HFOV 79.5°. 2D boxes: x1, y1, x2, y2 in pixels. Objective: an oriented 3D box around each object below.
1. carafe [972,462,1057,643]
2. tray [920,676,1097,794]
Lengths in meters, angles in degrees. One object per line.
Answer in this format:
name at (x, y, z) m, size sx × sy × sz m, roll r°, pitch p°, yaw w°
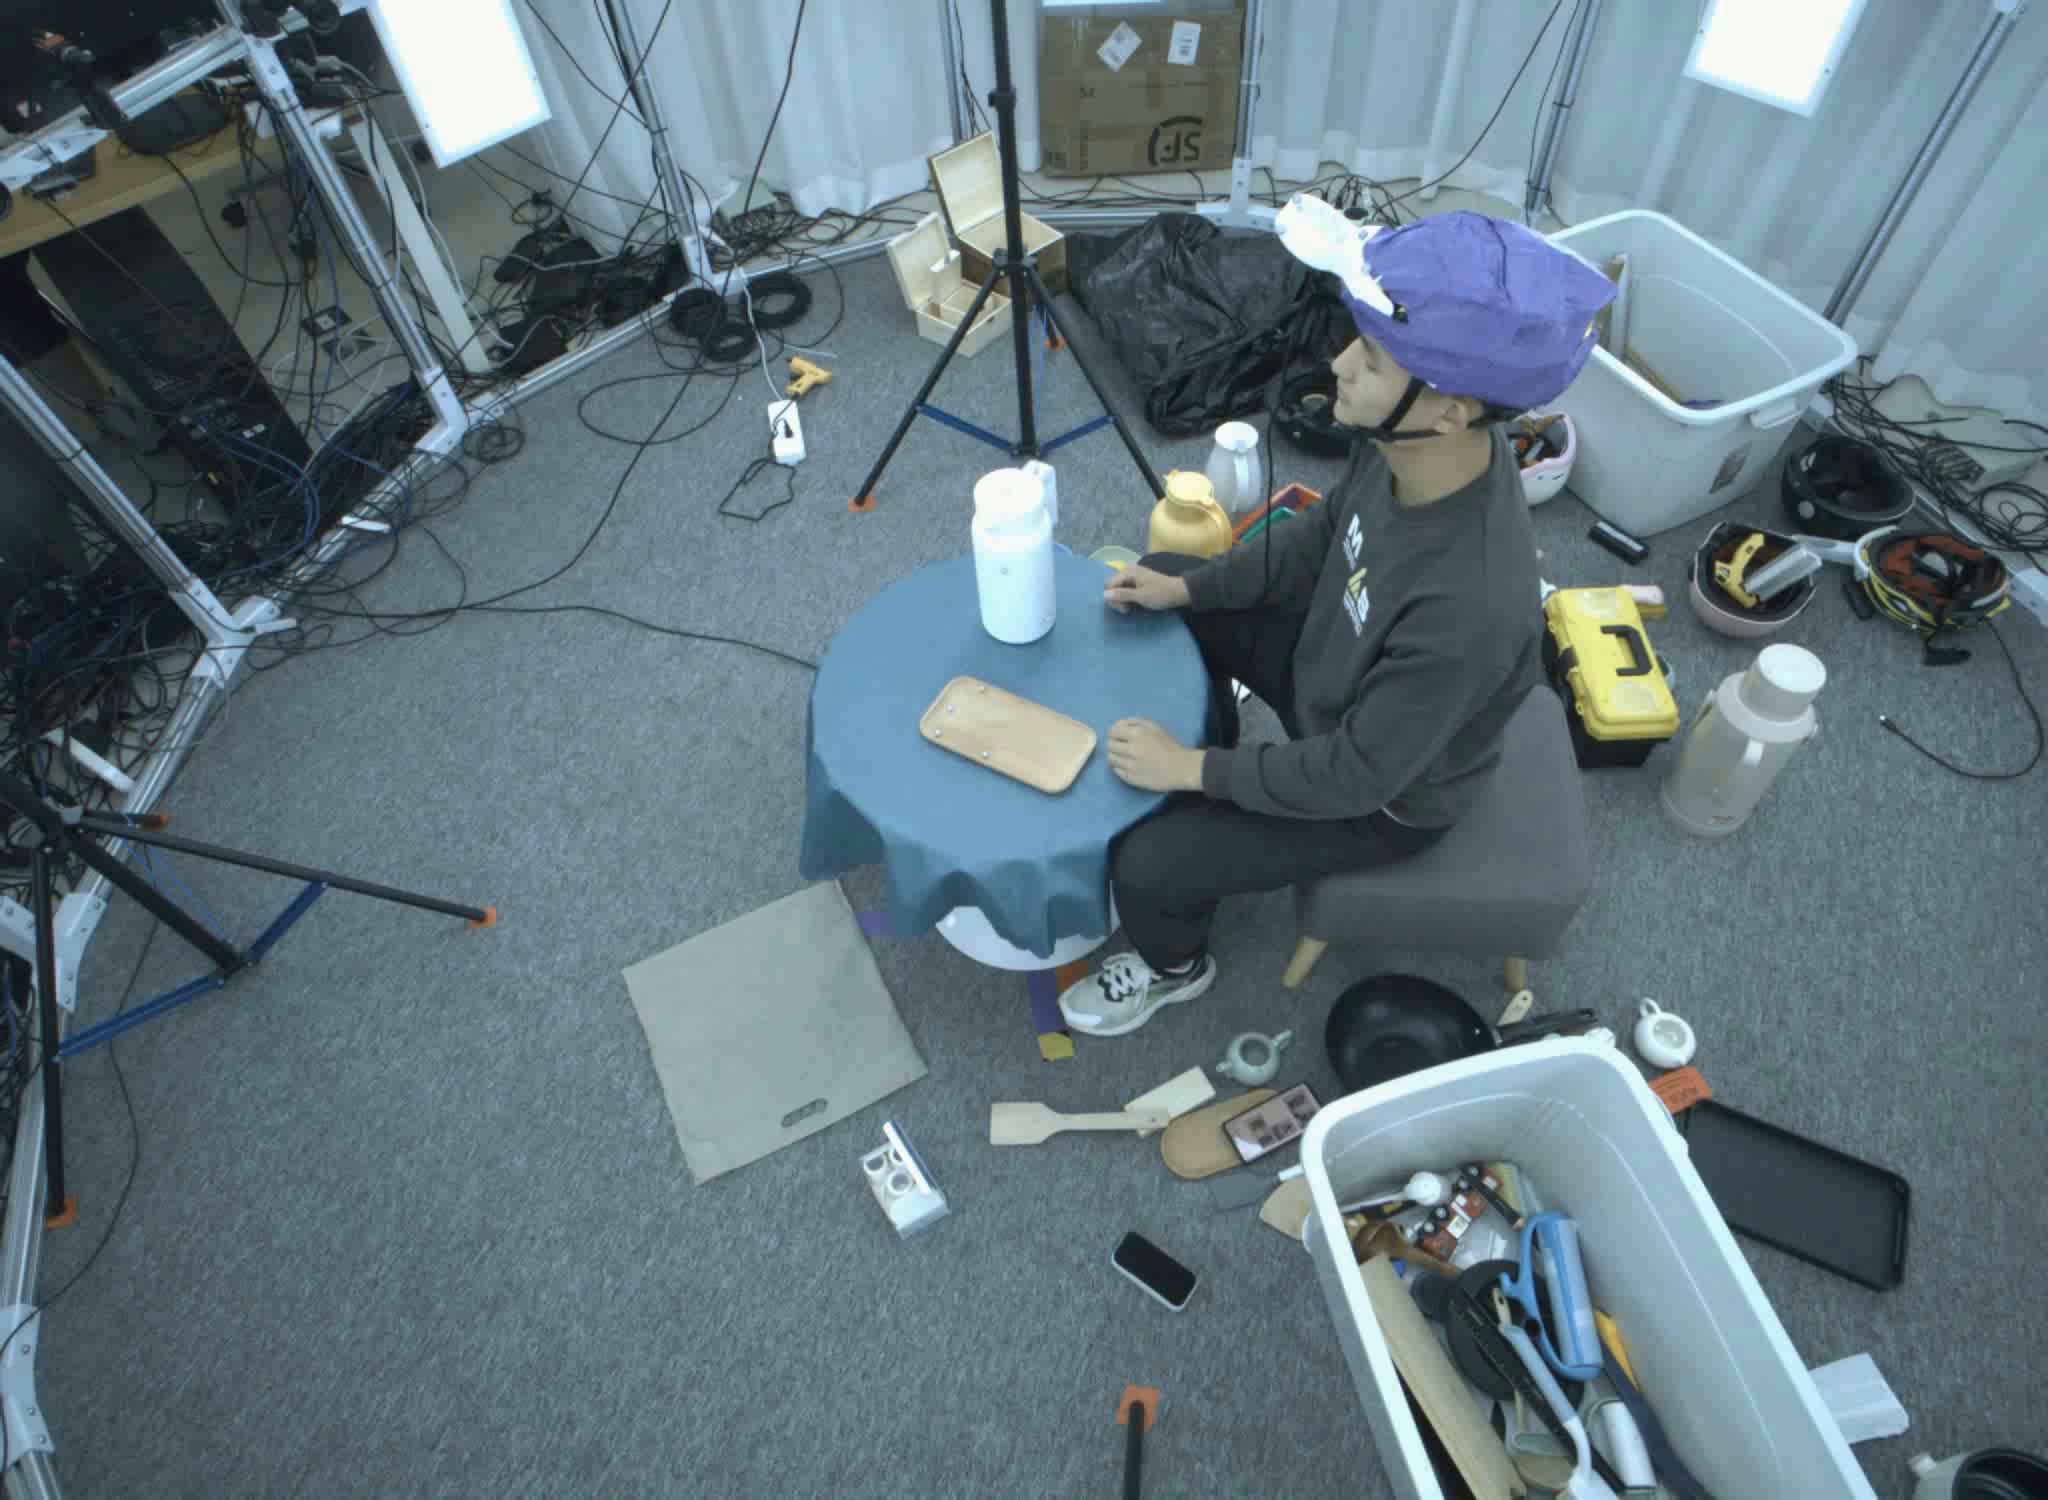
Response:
carafe at (-0.008, -0.299, 1.835) m, size 0.122 × 0.272 × 0.173 m, roll 23°, pitch 59°, yaw 21°
tray at (-0.023, -0.023, 1.793) m, size 0.247 × 0.023 × 0.131 m, roll 25°, pitch 61°, yaw 17°
